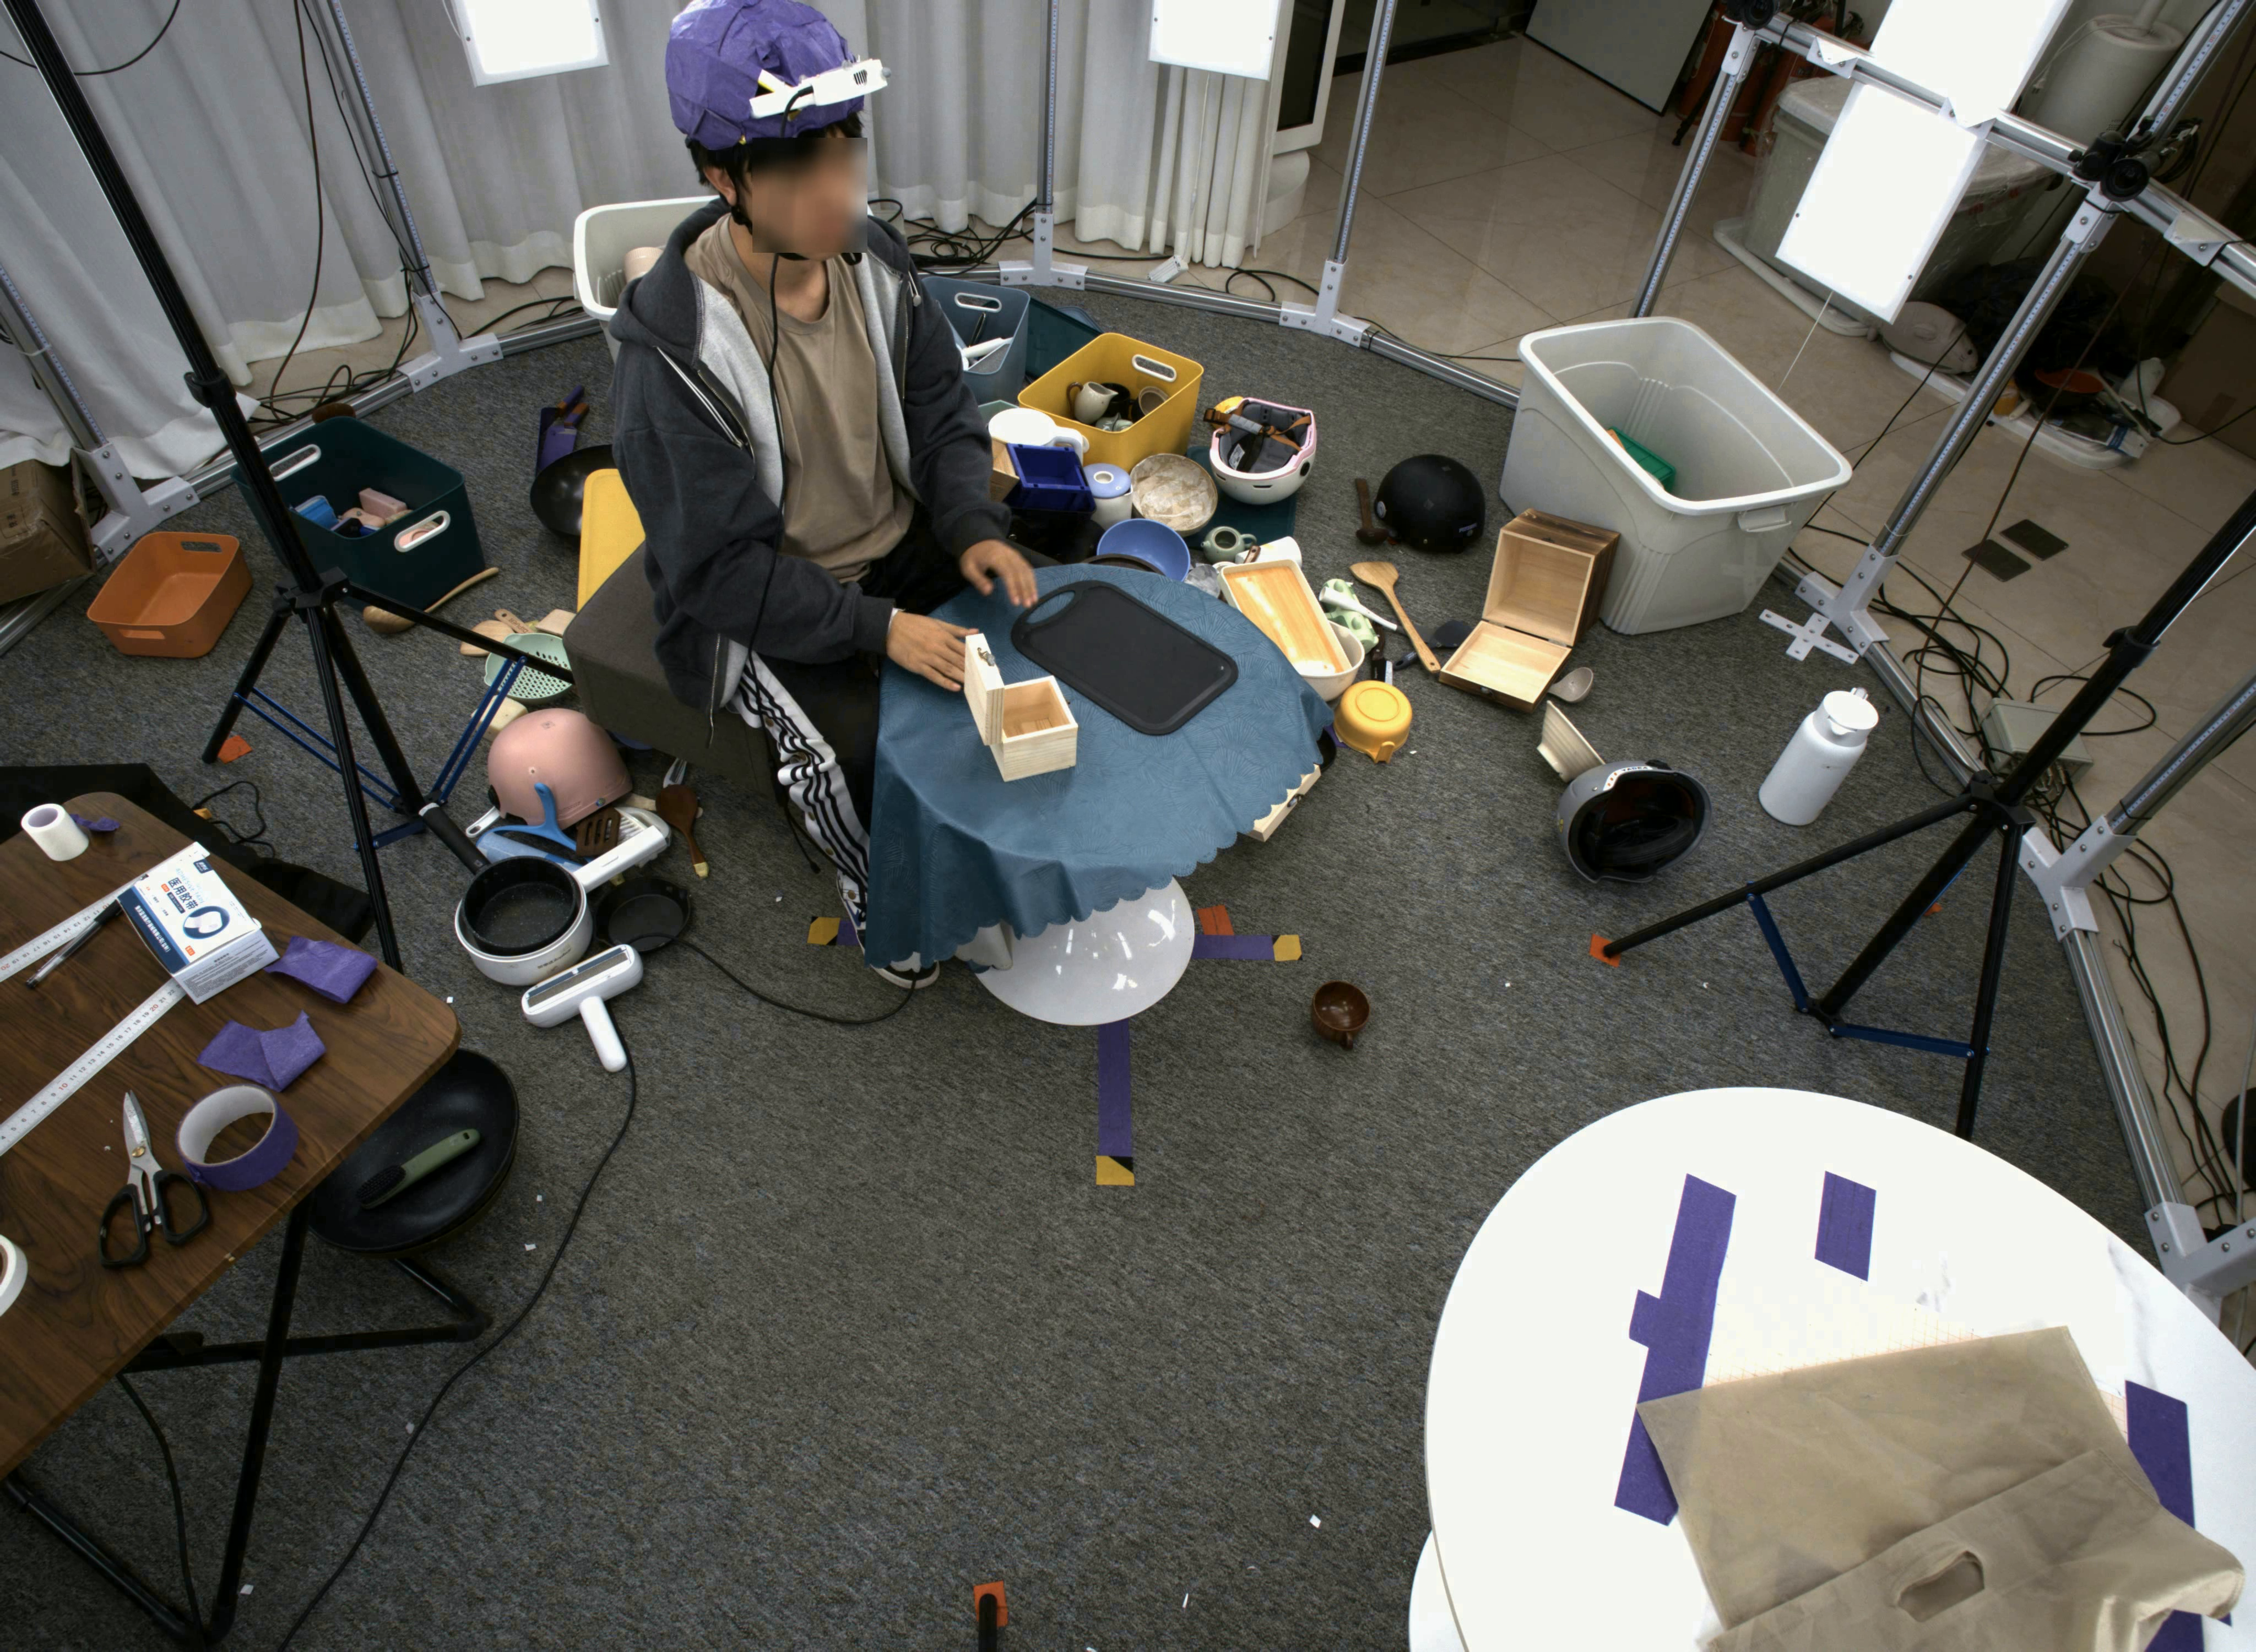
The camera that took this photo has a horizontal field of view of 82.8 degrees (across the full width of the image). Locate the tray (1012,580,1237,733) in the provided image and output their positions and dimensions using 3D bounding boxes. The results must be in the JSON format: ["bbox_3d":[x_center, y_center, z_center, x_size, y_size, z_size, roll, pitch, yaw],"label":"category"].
[{"bbox_3d":[-0.012,-0.259,1.886,0.330,0.009,0.213,36,55,24],"label":"tray"}]

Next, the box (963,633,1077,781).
[{"bbox_3d":[-0.139,-0.162,1.678,0.134,0.180,0.105,-14,52,-14],"label":"box"}]
